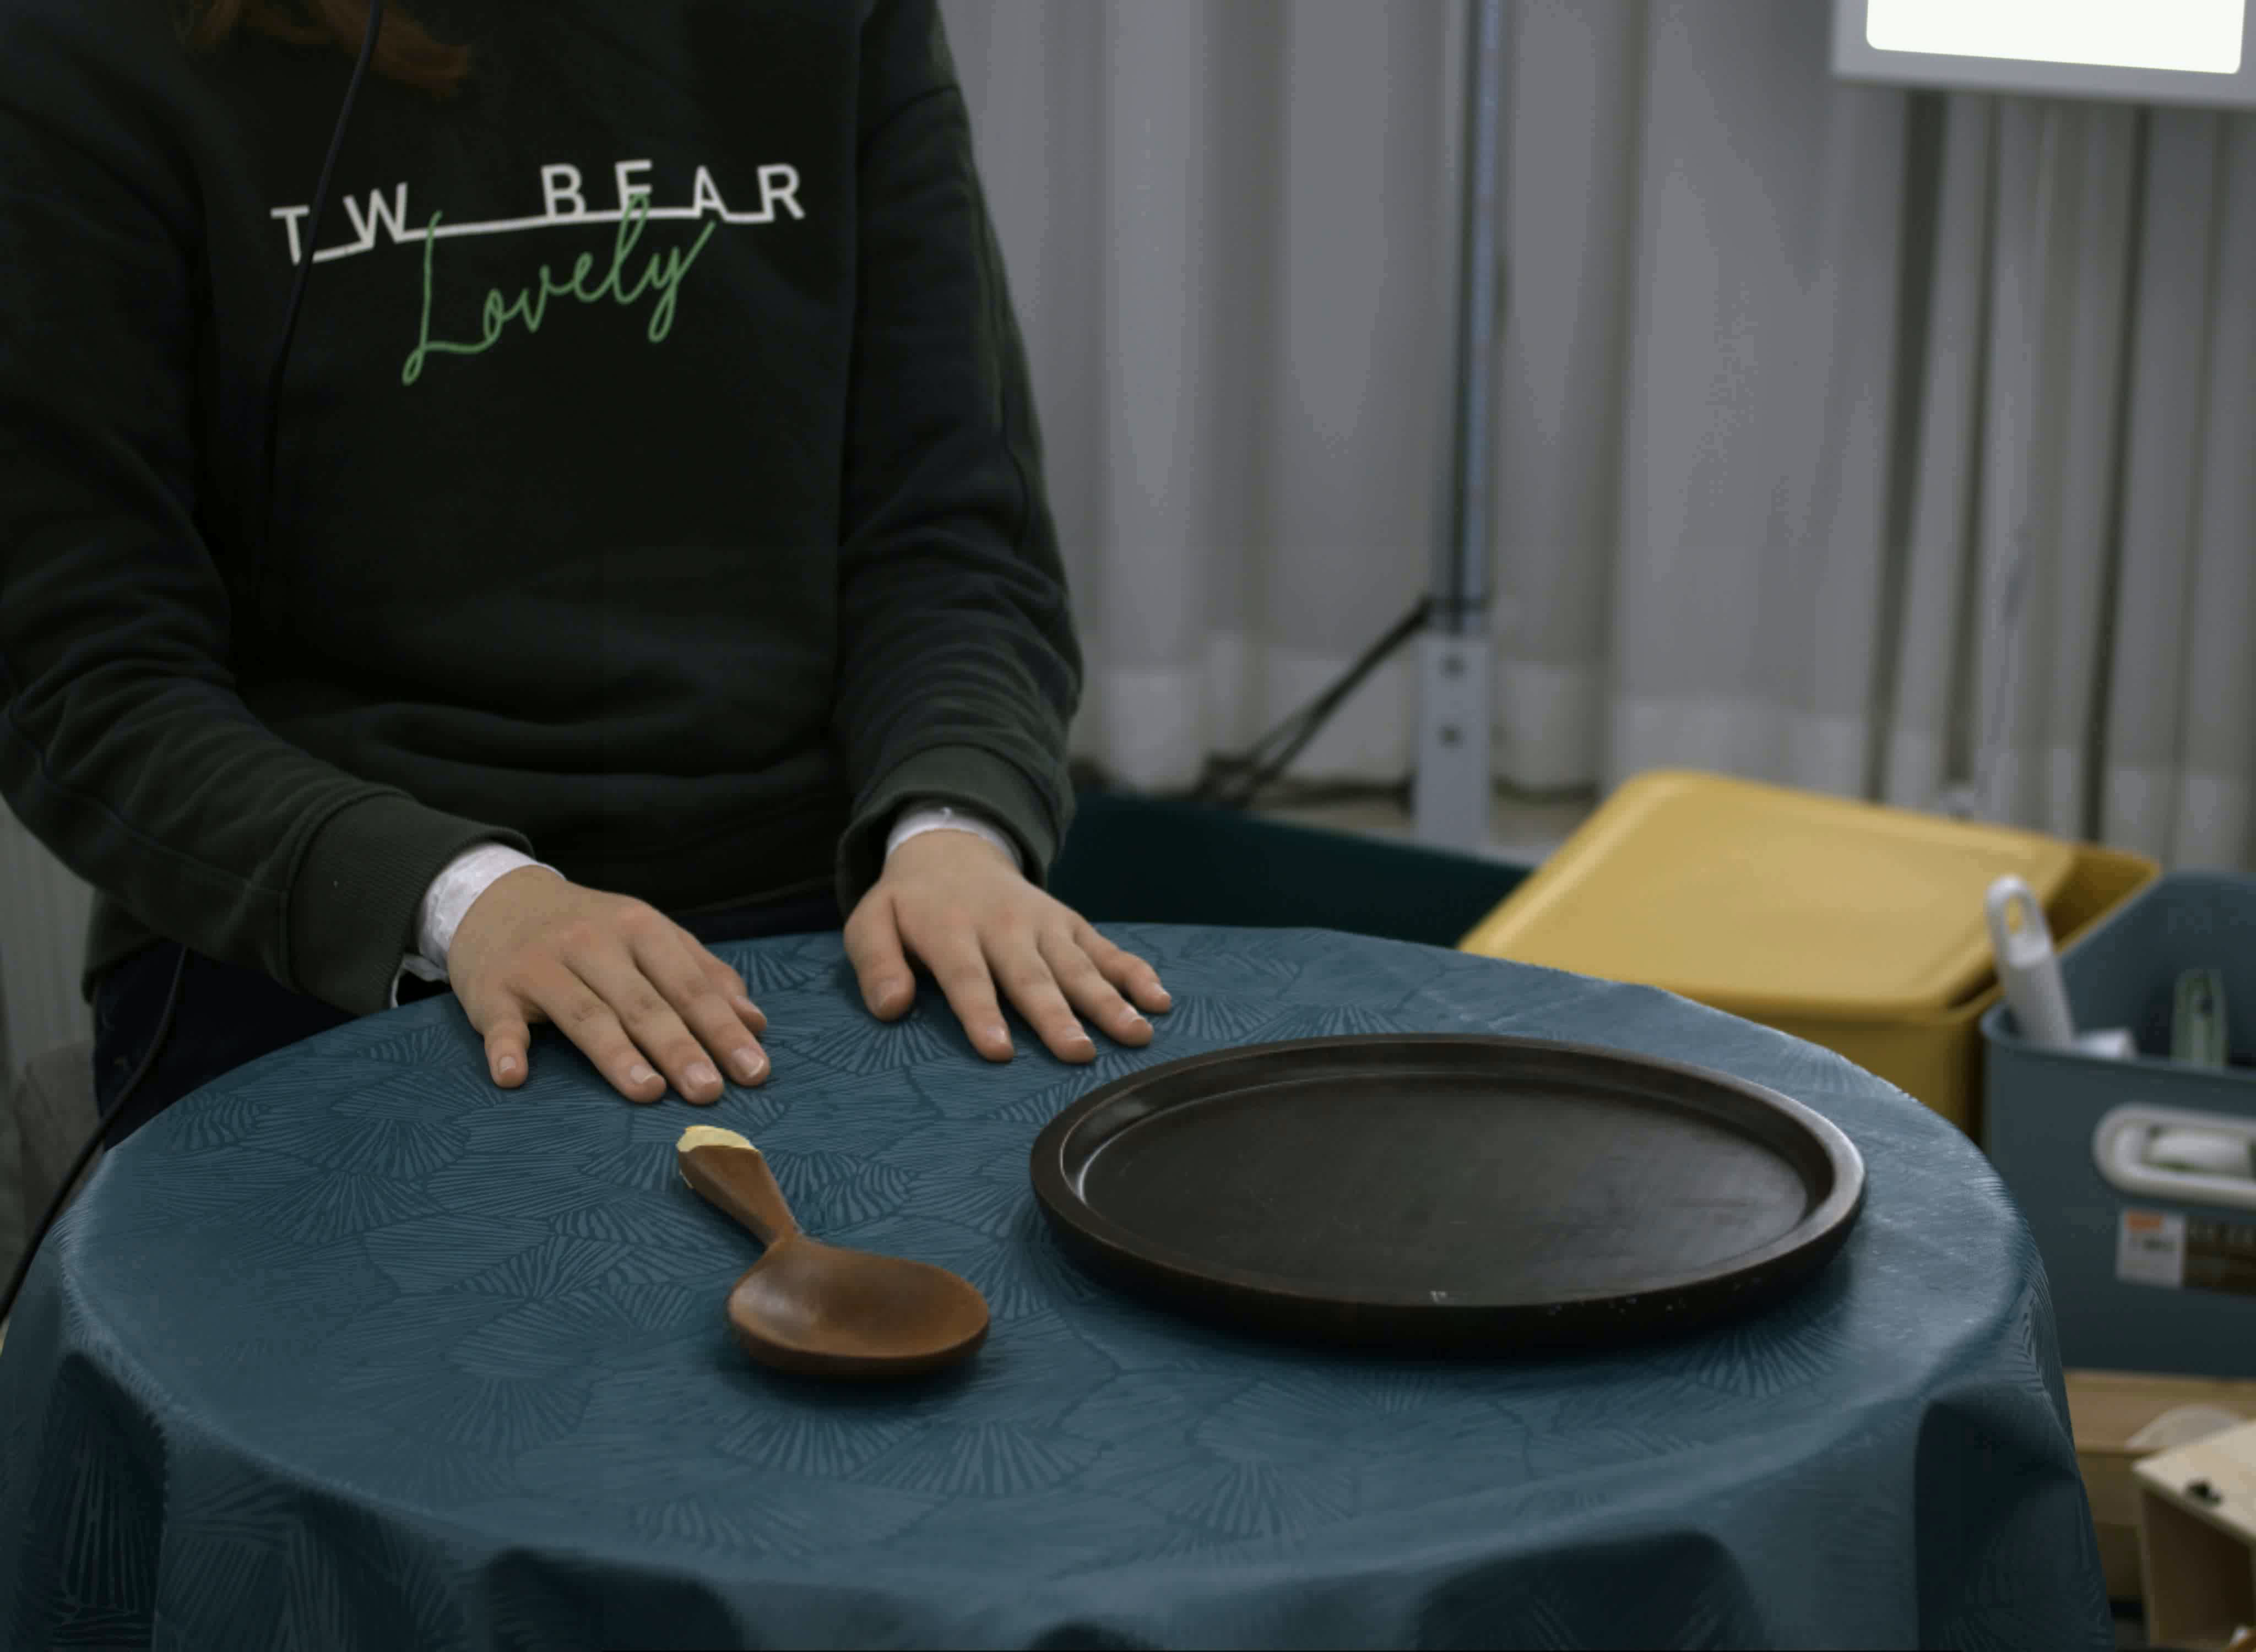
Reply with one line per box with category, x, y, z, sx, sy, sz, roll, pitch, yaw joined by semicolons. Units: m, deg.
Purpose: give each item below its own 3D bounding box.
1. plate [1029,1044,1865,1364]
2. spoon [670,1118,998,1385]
plate;0.096;0.111;1.596;0.254;0.029;0.253;2;16;0
spoon;-0.097;0.125;1.545;0.075;0.017;0.213;-5;17;-19
